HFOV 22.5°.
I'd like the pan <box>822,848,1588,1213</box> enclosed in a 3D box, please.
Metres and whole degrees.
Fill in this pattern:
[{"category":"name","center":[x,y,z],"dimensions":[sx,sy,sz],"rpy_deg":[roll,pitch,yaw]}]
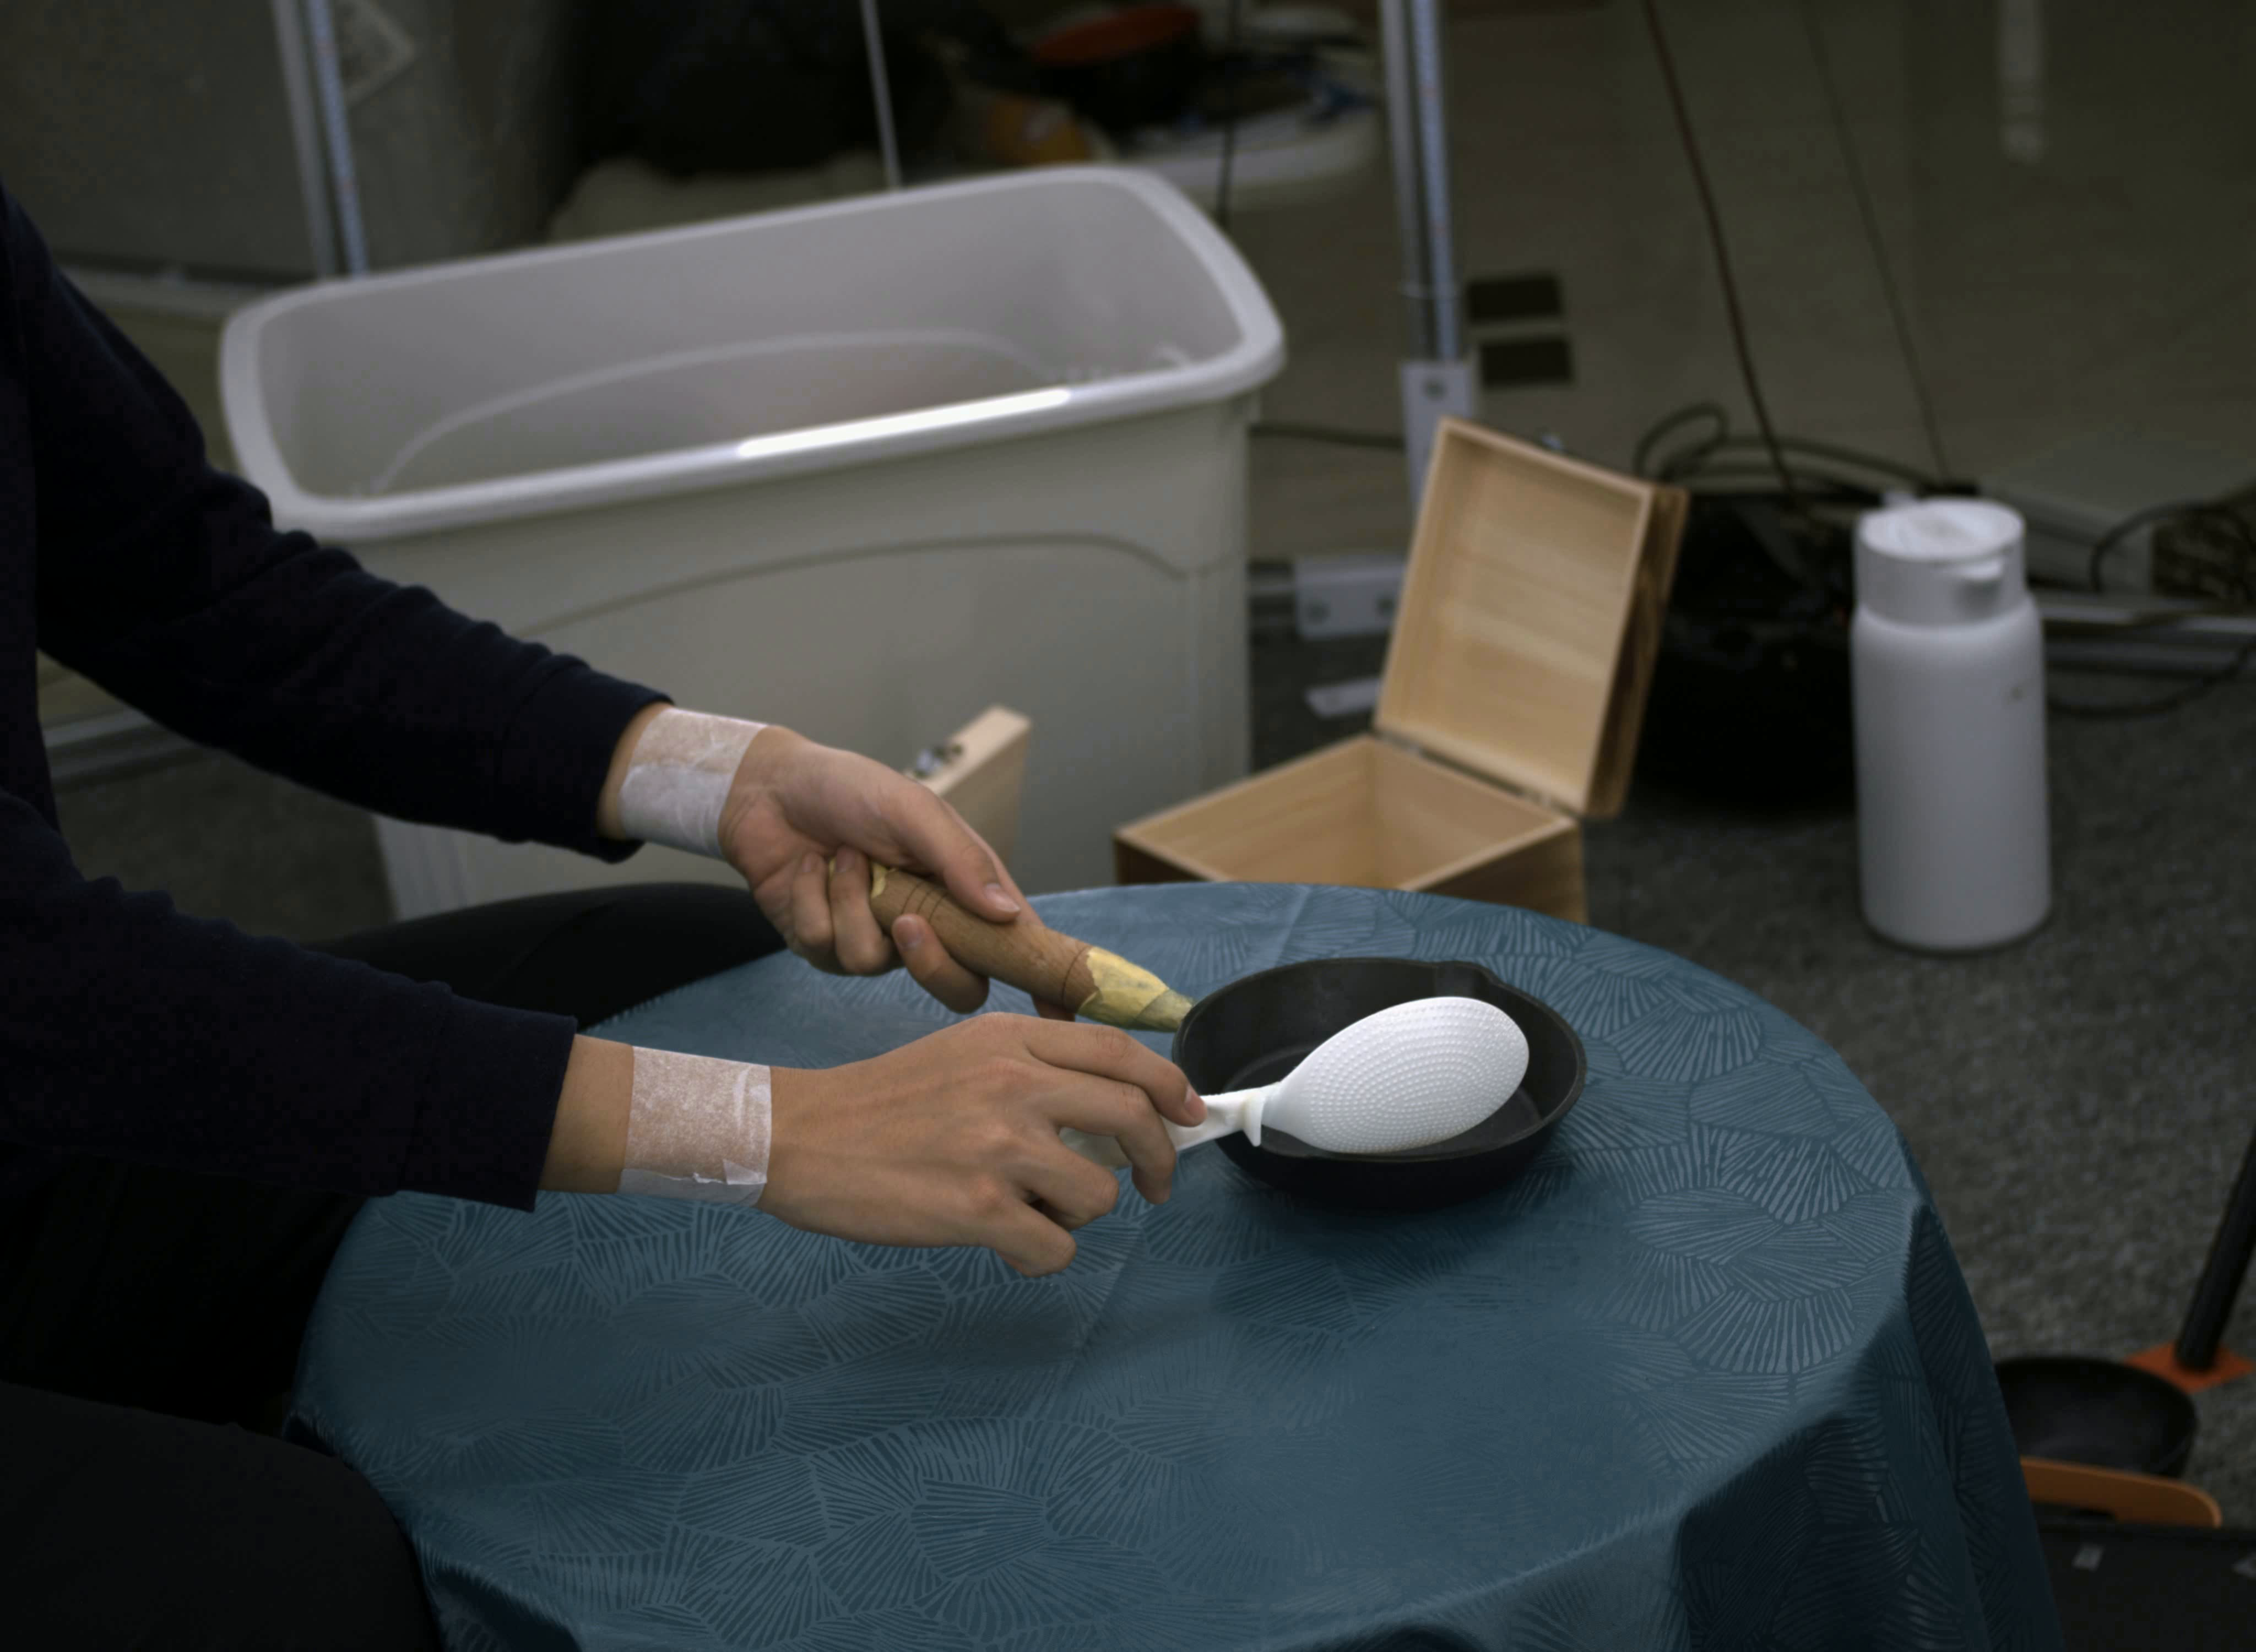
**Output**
[{"category":"pan","center":[0.022,0.073,2.183],"dimensions":[0.322,0.050,0.167],"rpy_deg":[17,32,25]}]

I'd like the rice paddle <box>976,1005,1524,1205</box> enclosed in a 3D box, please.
[{"category":"rice paddle","center":[0.047,0.103,2.053],"dimensions":[0.204,0.070,0.029],"rpy_deg":[-10,41,-15]}]
